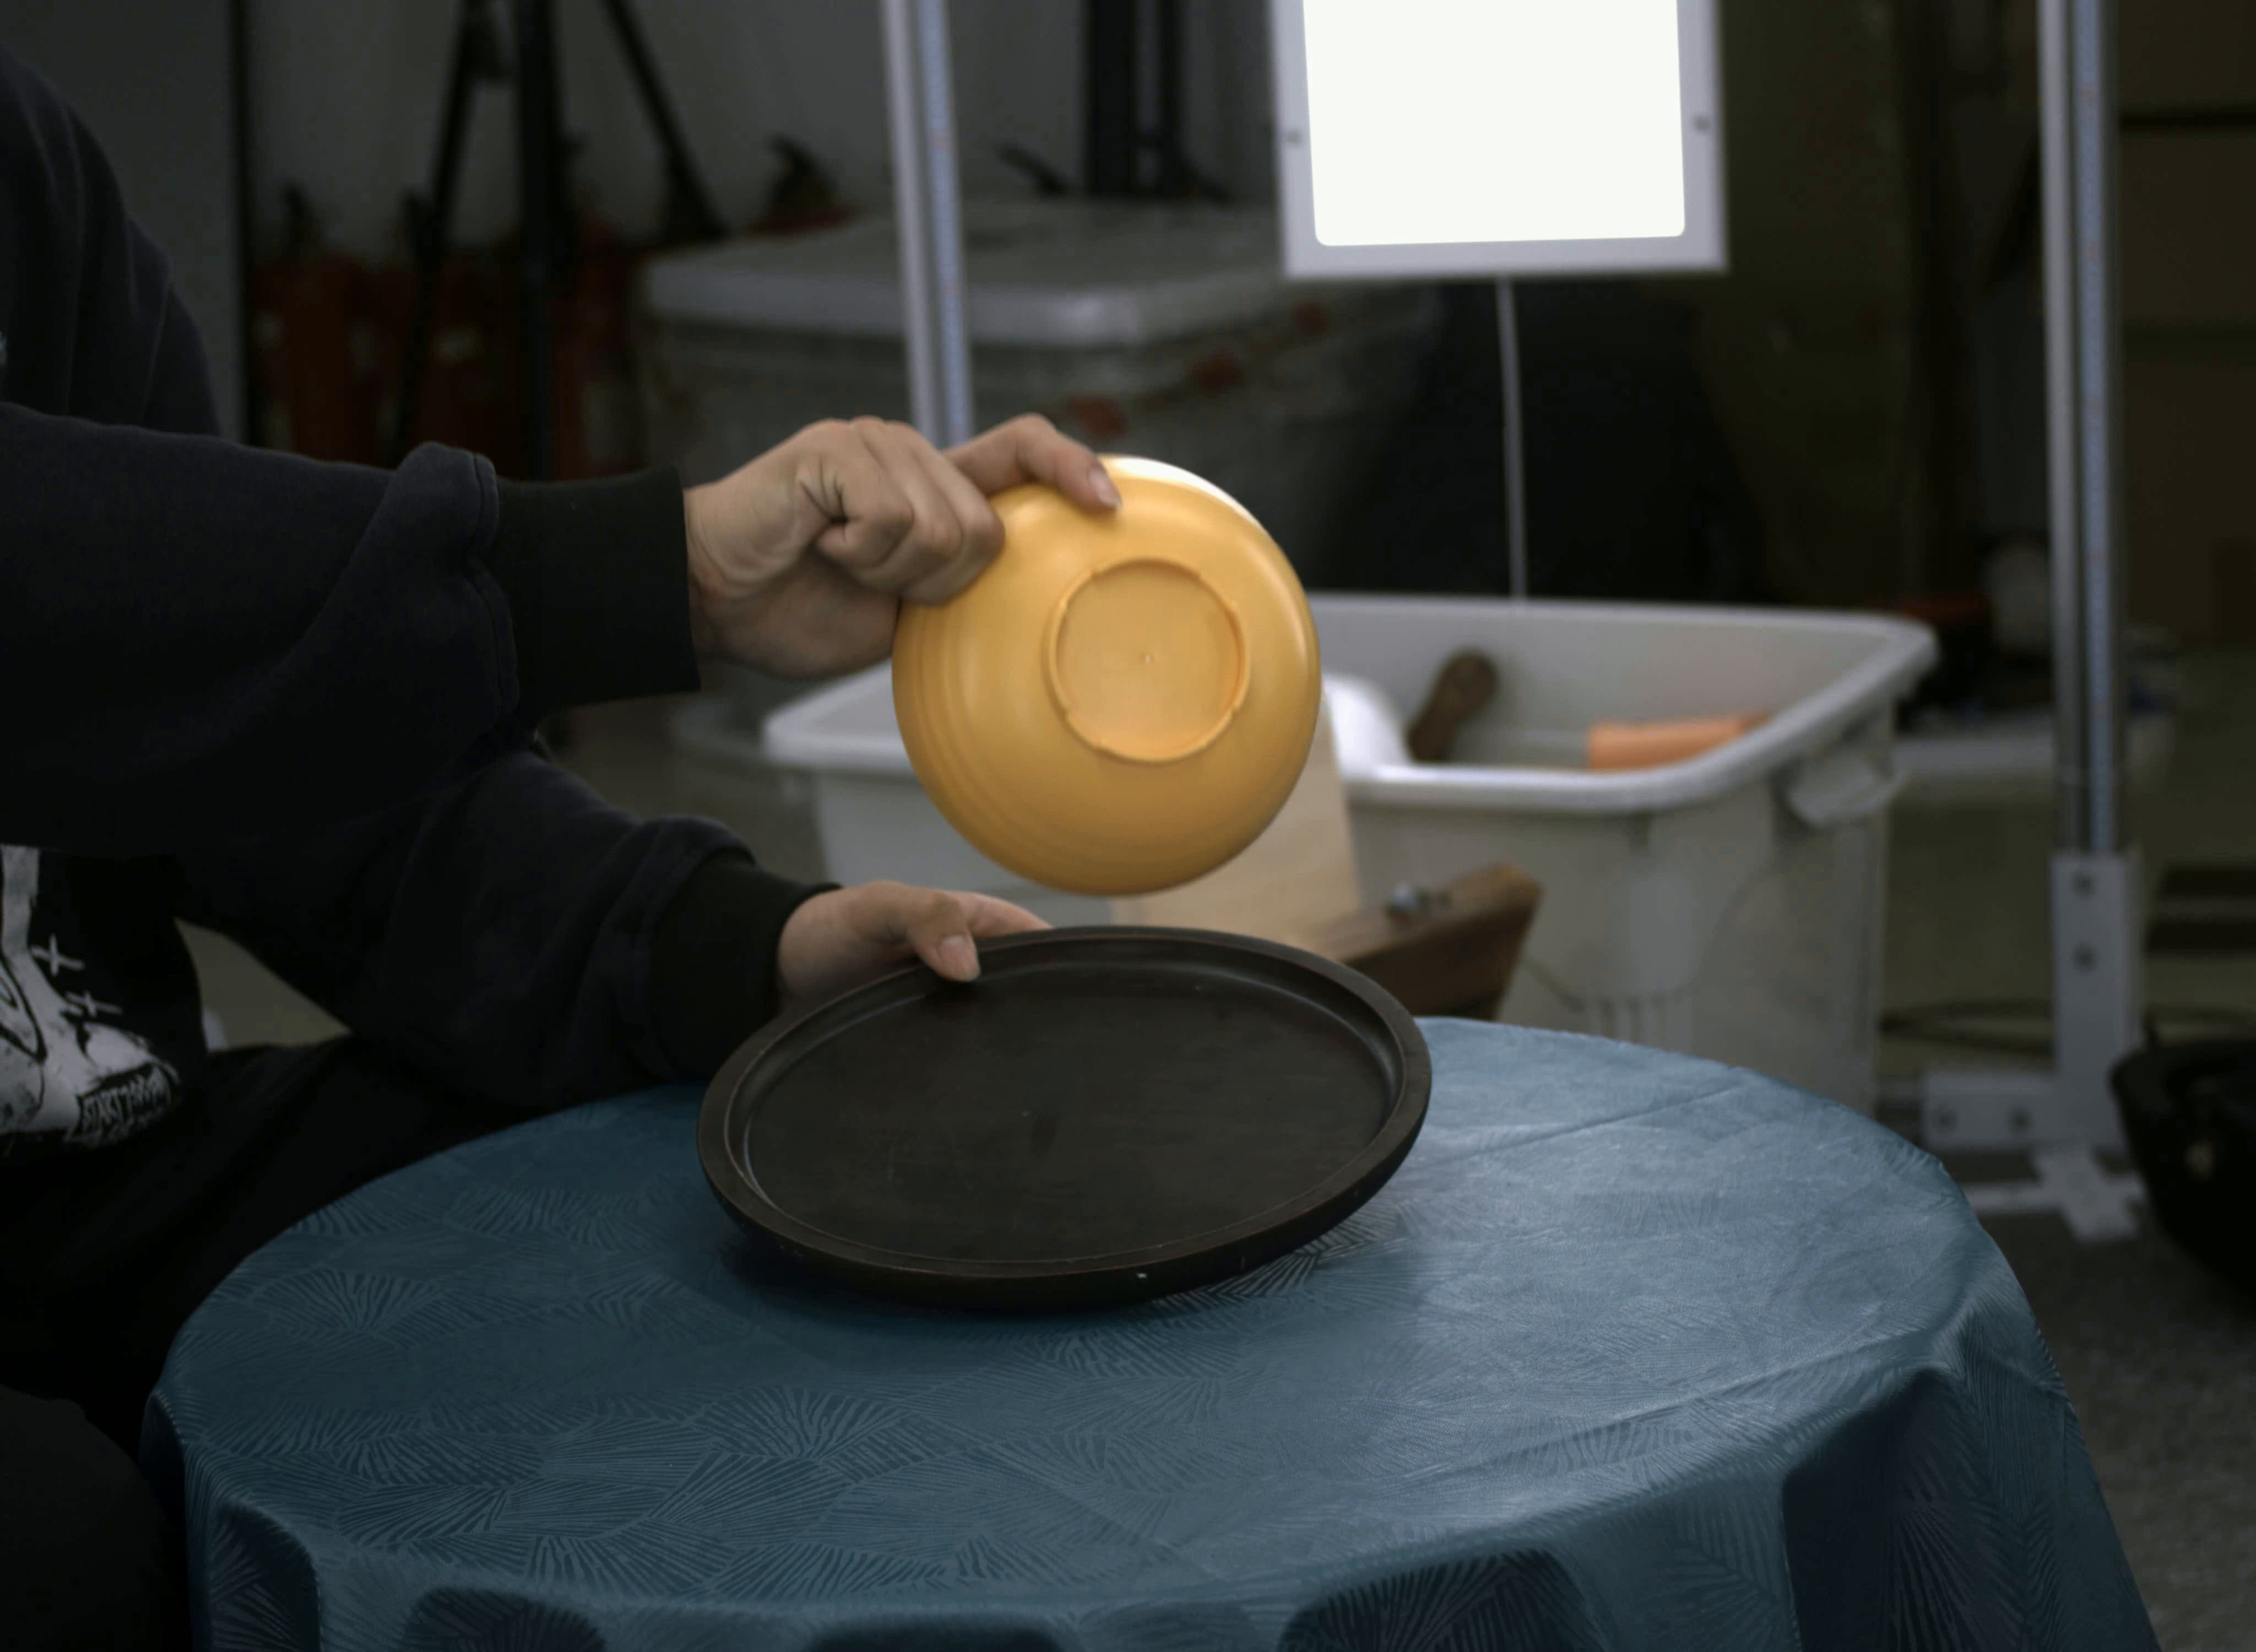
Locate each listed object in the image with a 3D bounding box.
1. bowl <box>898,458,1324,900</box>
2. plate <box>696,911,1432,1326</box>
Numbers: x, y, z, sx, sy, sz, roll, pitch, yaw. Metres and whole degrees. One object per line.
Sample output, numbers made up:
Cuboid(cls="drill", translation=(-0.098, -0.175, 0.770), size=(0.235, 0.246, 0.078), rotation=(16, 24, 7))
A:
Cuboid(cls="bowl", translation=(0.003, -0.051, 1.758), size=(0.143, 0.146, 0.061), rotation=(-8, -3, -15))
Cuboid(cls="plate", translation=(-0.021, 0.099, 1.879), size=(0.254, 0.029, 0.254), rotation=(-7, 27, 2))
